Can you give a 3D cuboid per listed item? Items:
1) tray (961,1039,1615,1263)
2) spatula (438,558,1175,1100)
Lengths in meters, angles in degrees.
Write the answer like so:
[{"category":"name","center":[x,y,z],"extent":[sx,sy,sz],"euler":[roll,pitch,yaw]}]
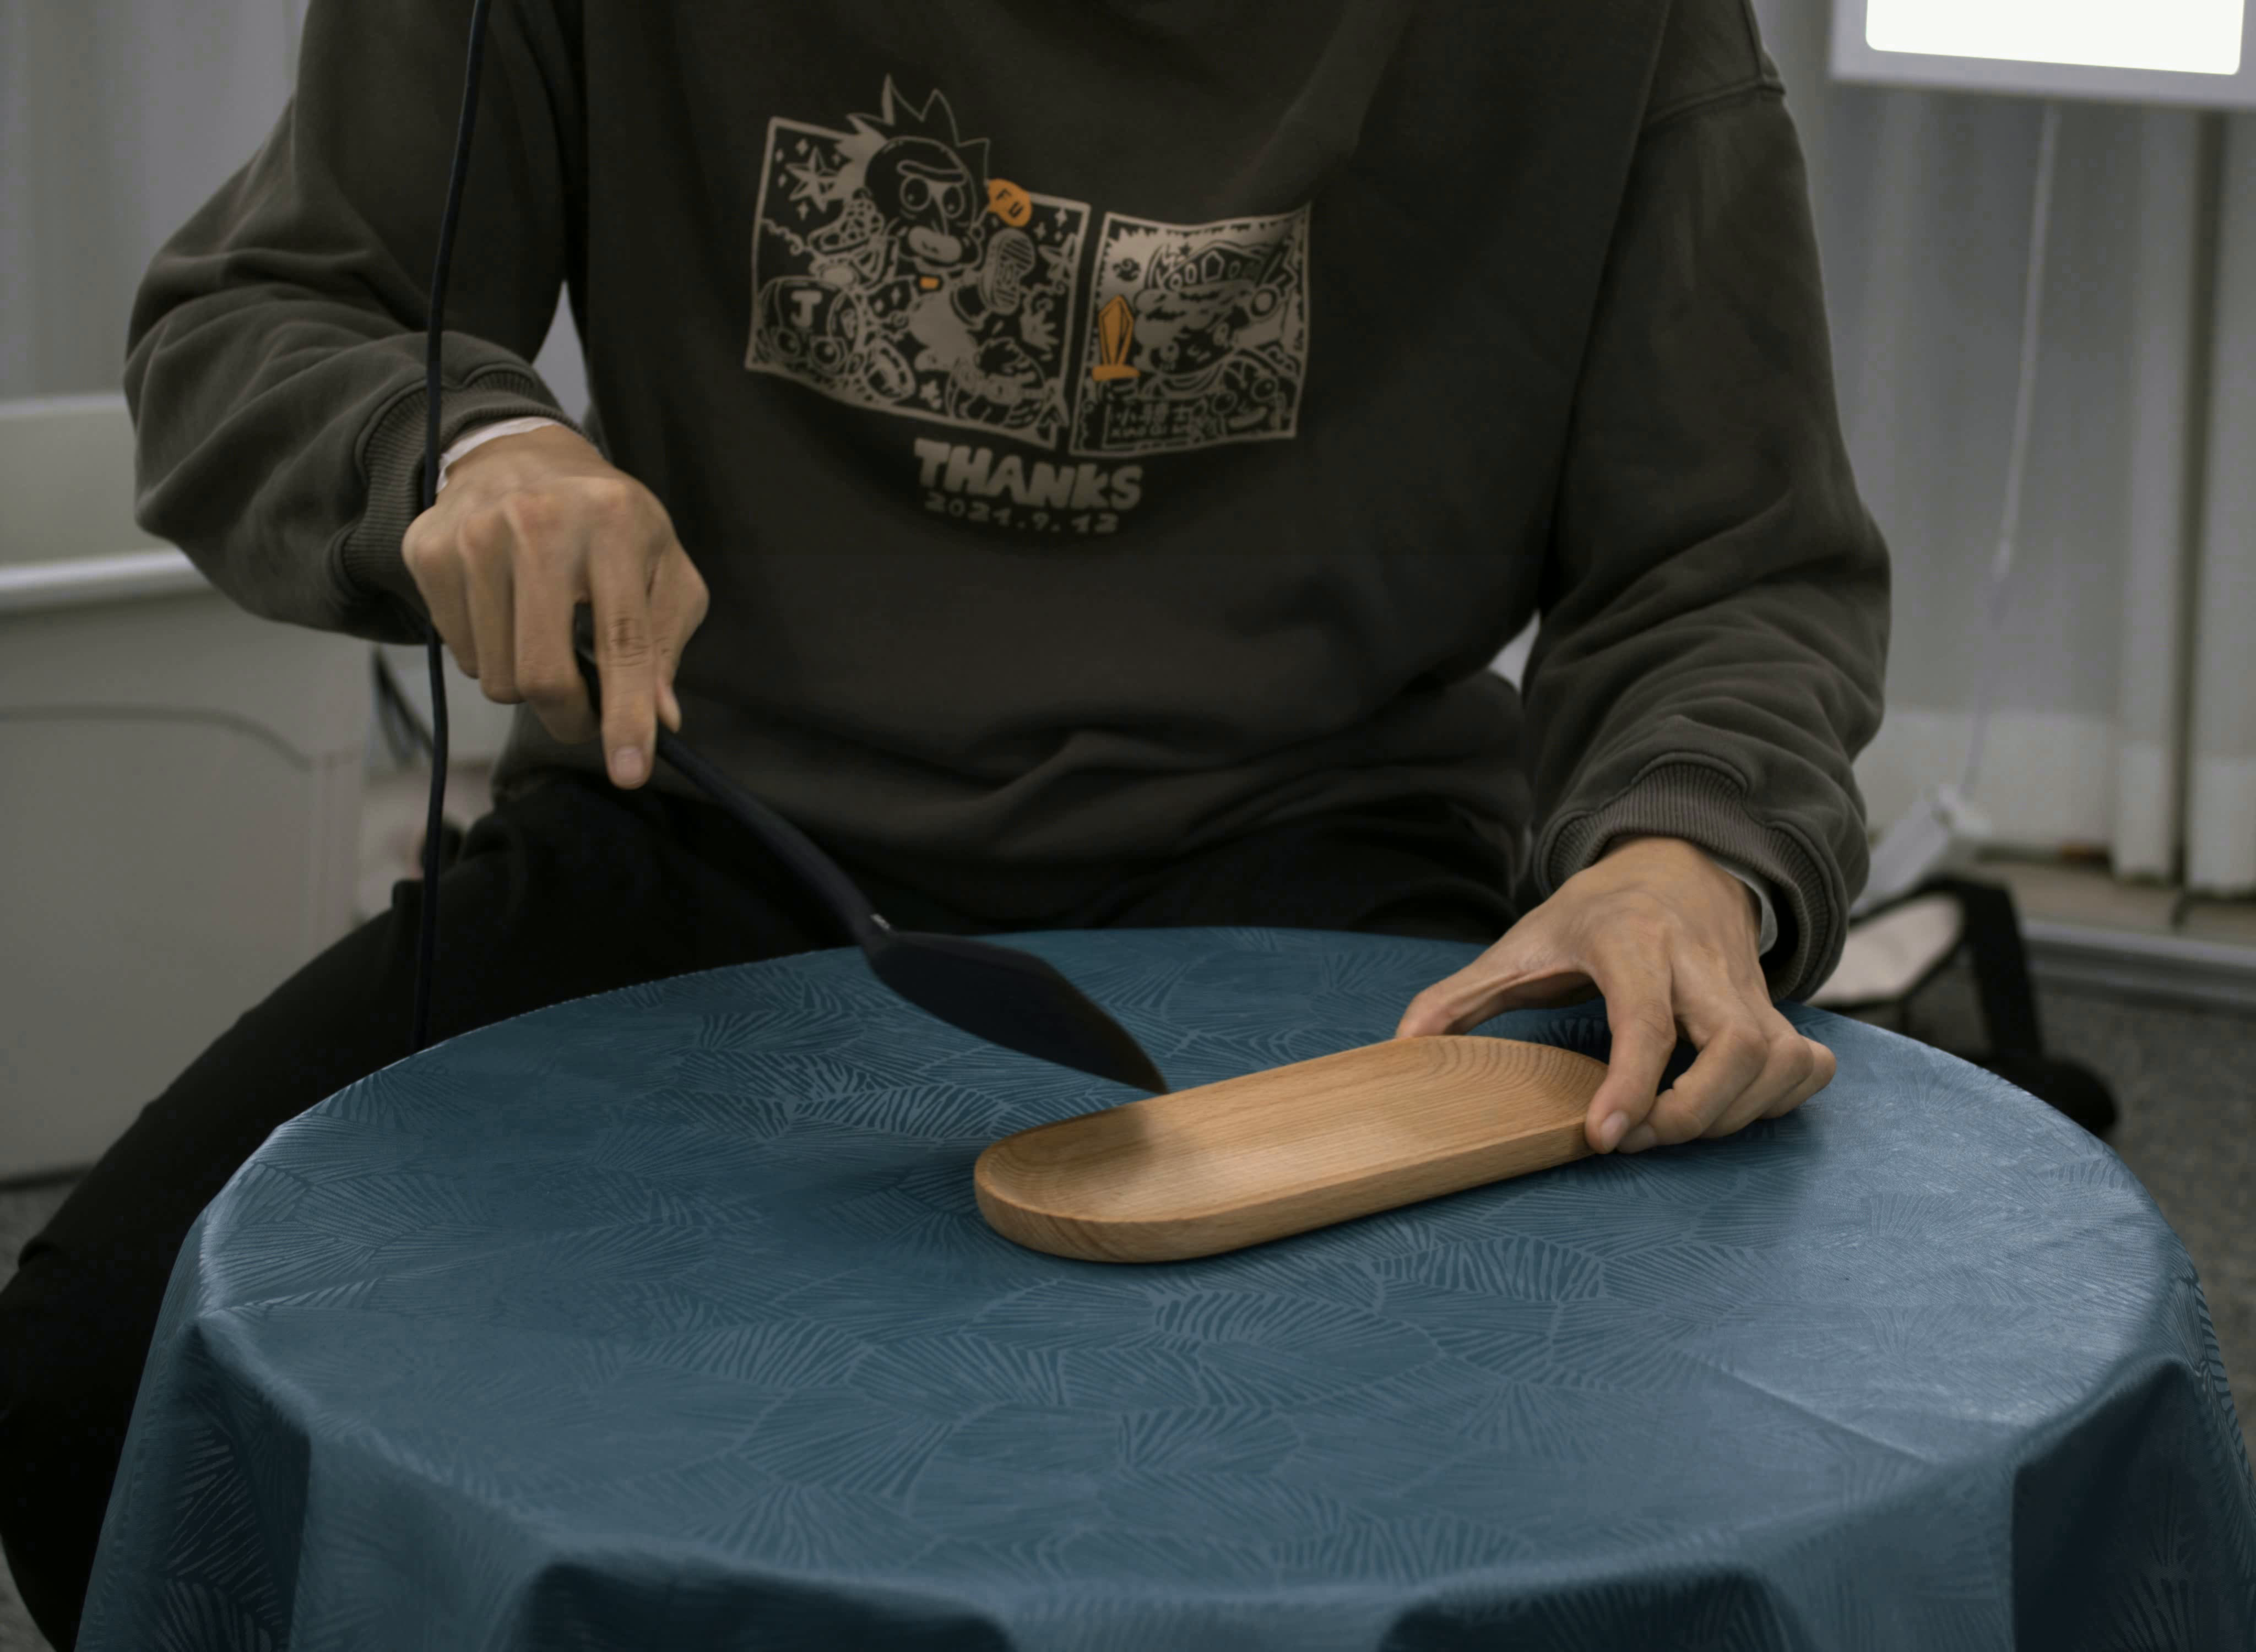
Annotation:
[{"category":"tray","center":[0.052,0.101,1.645],"extent":[0.232,0.020,0.100],"euler":[-12,19,-35]},{"category":"spatula","center":[-0.113,-0.009,1.686],"extent":[0.322,0.040,0.101],"euler":[40,-9,30]}]
